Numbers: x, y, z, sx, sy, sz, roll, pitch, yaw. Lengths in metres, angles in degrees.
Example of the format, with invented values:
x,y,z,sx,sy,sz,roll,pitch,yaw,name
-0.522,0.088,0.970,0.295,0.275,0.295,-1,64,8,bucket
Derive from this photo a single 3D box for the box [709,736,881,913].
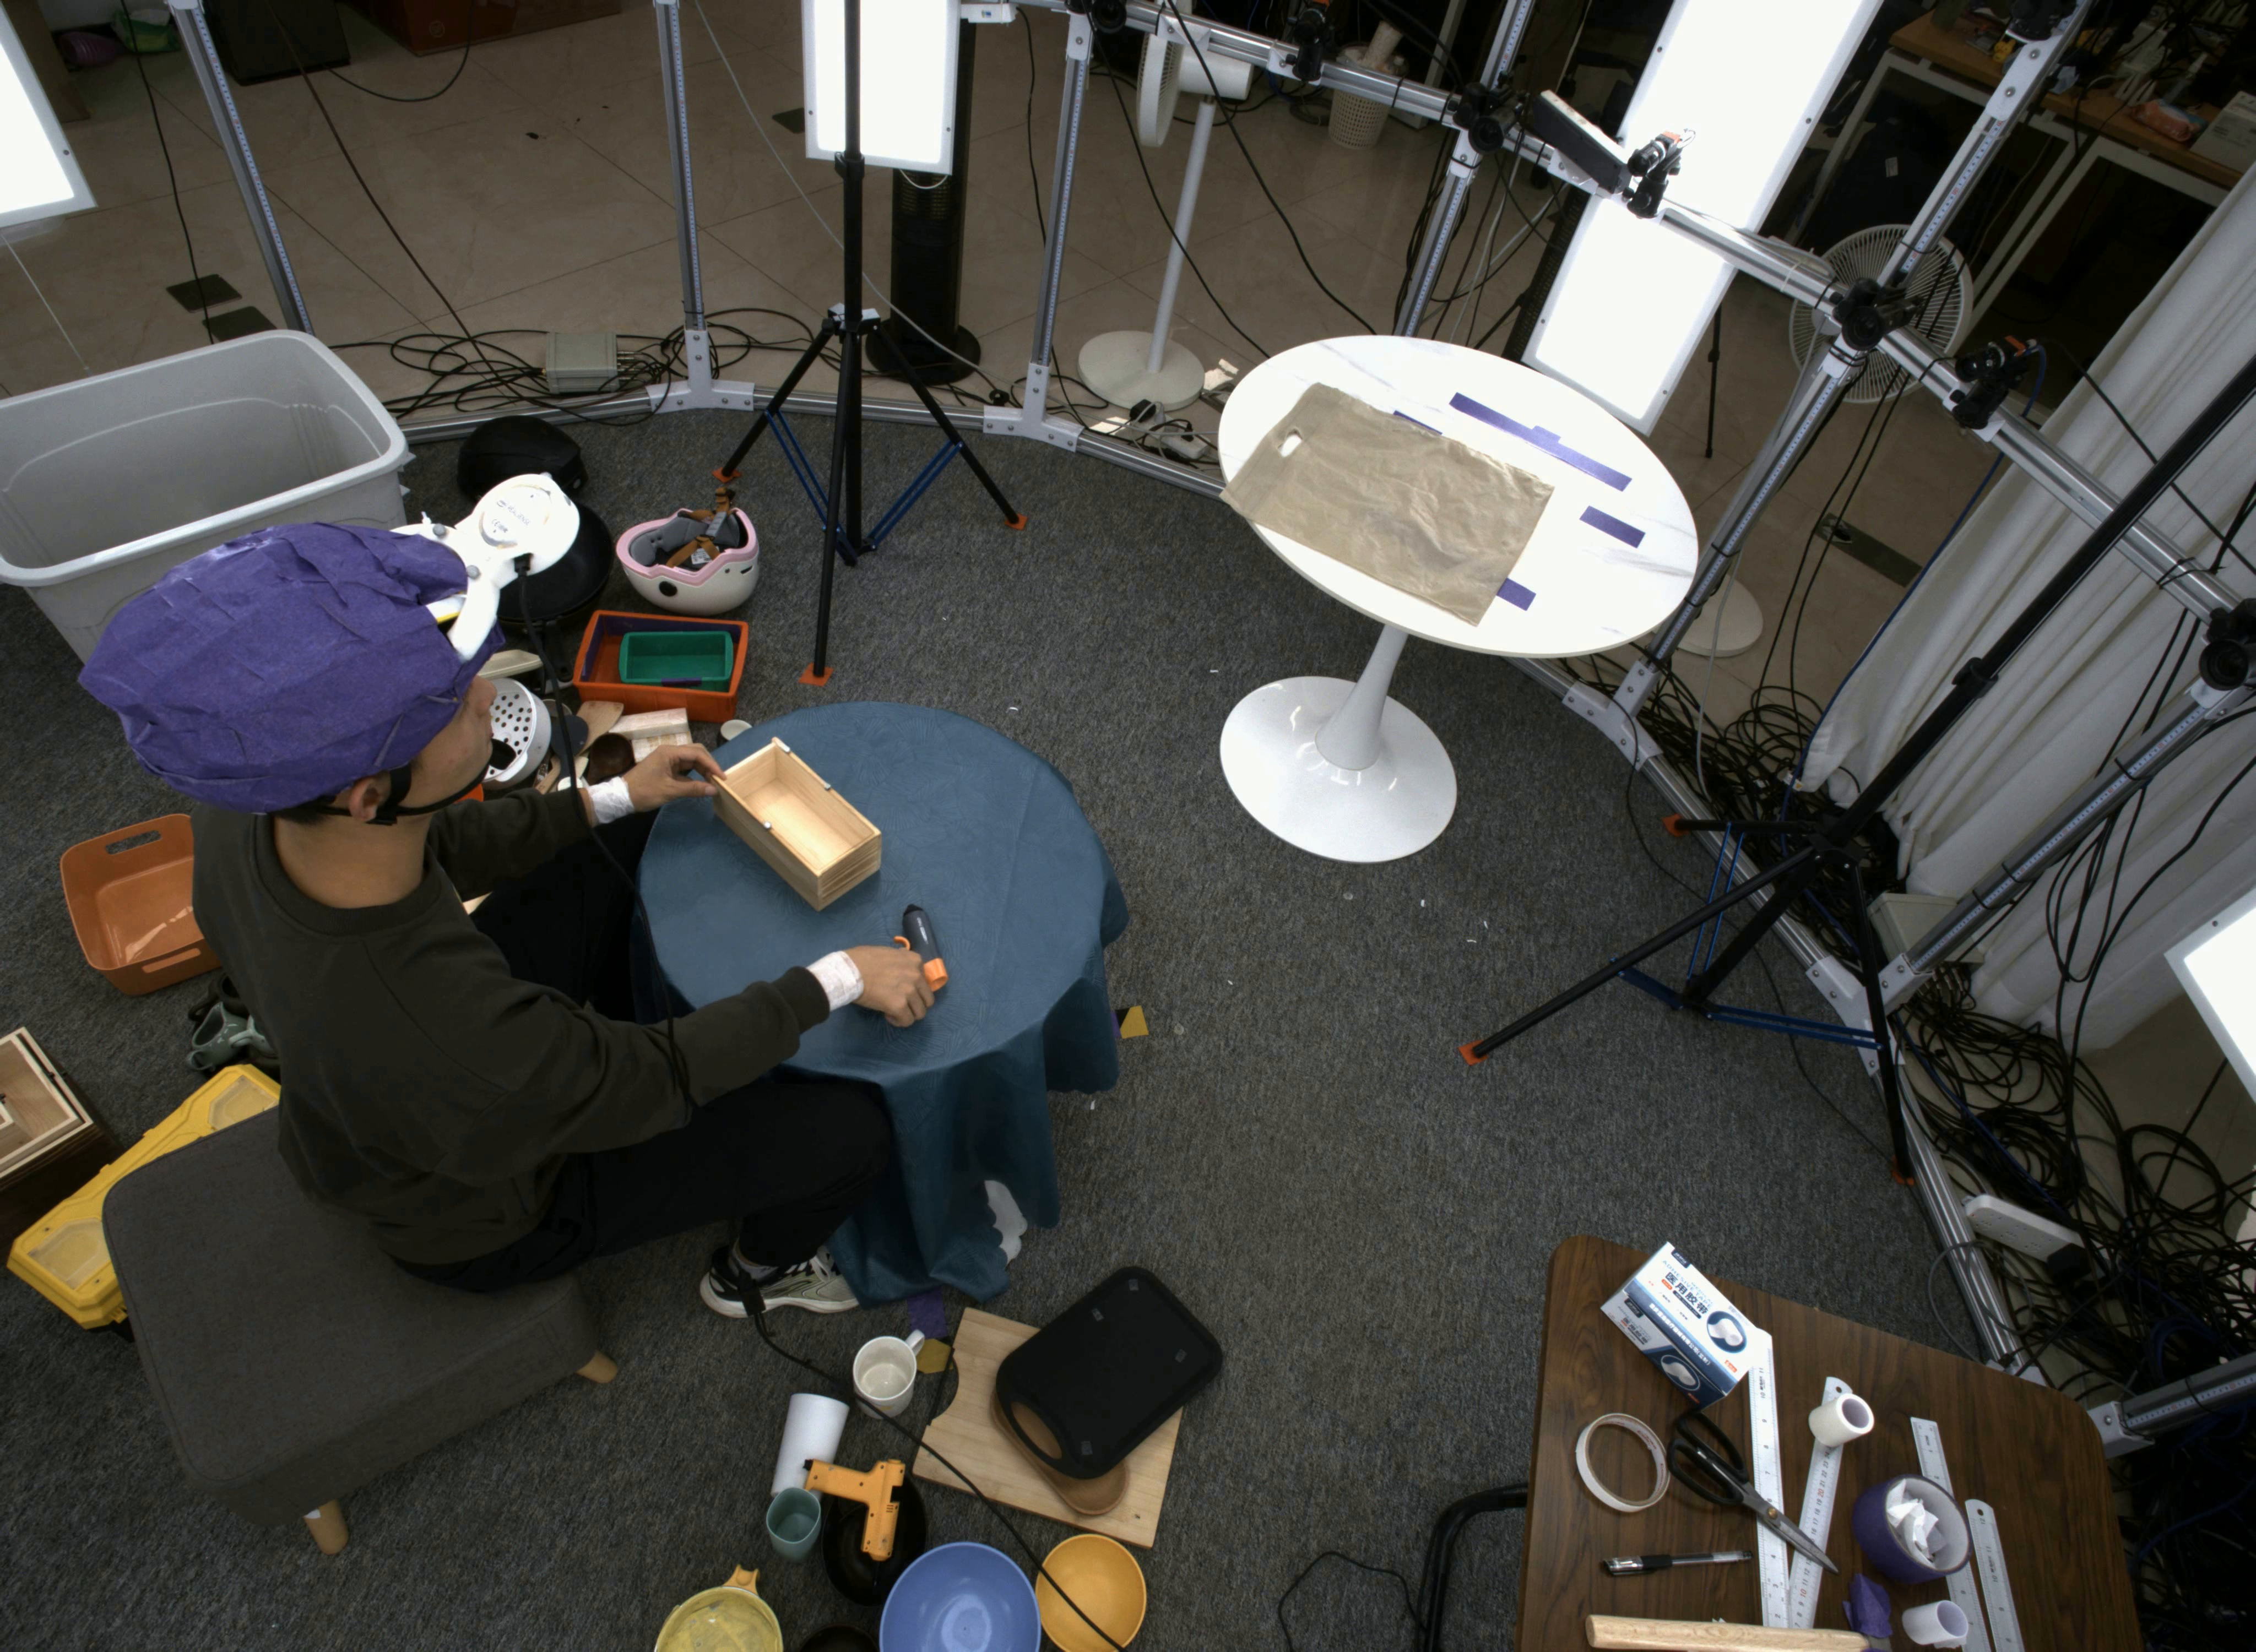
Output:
x,y,z,sx,sy,sz,roll,pitch,yaw,name
-0.428,-0.004,1.670,0.207,0.082,0.107,39,56,16,box

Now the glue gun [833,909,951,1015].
x,y,z,sx,sy,sz,roll,pitch,yaw,name
-0.290,0.165,1.610,0.140,0.042,0.114,-27,59,-32,glue gun
